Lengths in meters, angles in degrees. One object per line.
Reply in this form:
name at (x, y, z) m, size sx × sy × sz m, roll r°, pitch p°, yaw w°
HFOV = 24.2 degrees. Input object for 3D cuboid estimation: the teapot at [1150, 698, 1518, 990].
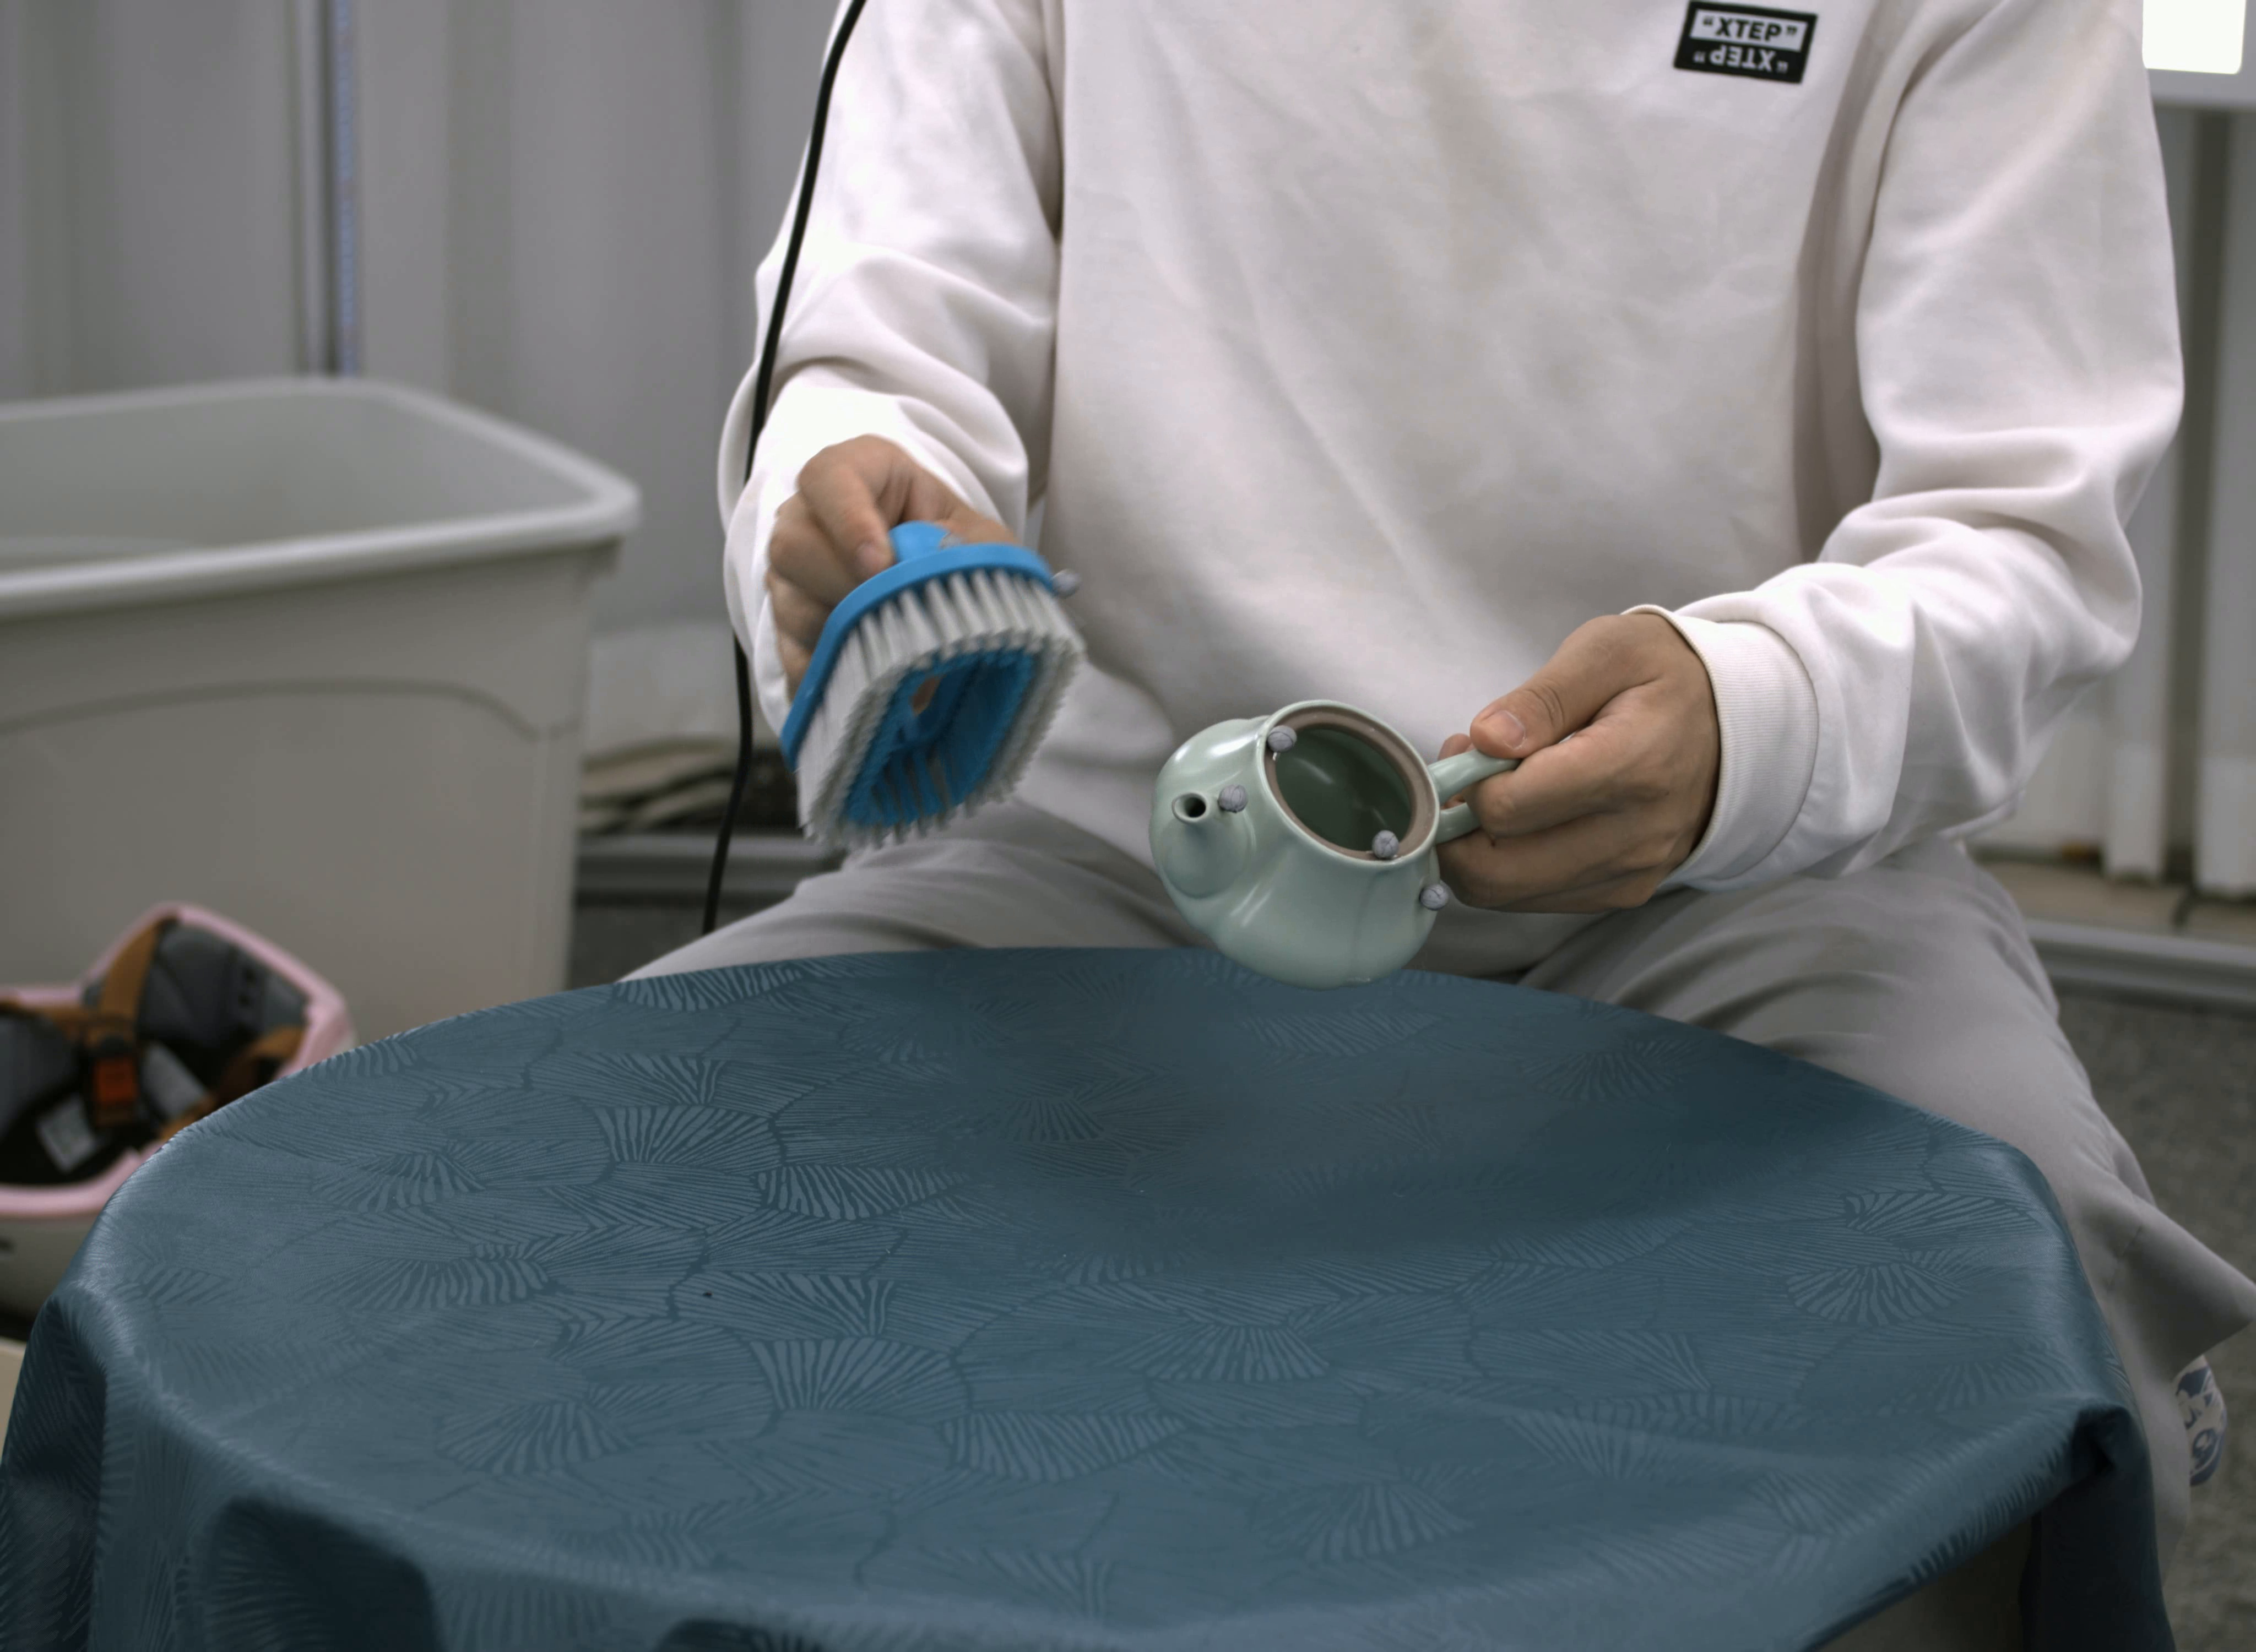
teapot at (0.060, 0.000, 1.619) m, size 0.137 × 0.061 × 0.095 m, roll -12°, pitch 61°, yaw -34°

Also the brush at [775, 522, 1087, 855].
brush at (-0.068, -0.051, 1.642) m, size 0.084 × 0.142 × 0.063 m, roll -16°, pitch 66°, yaw -22°
